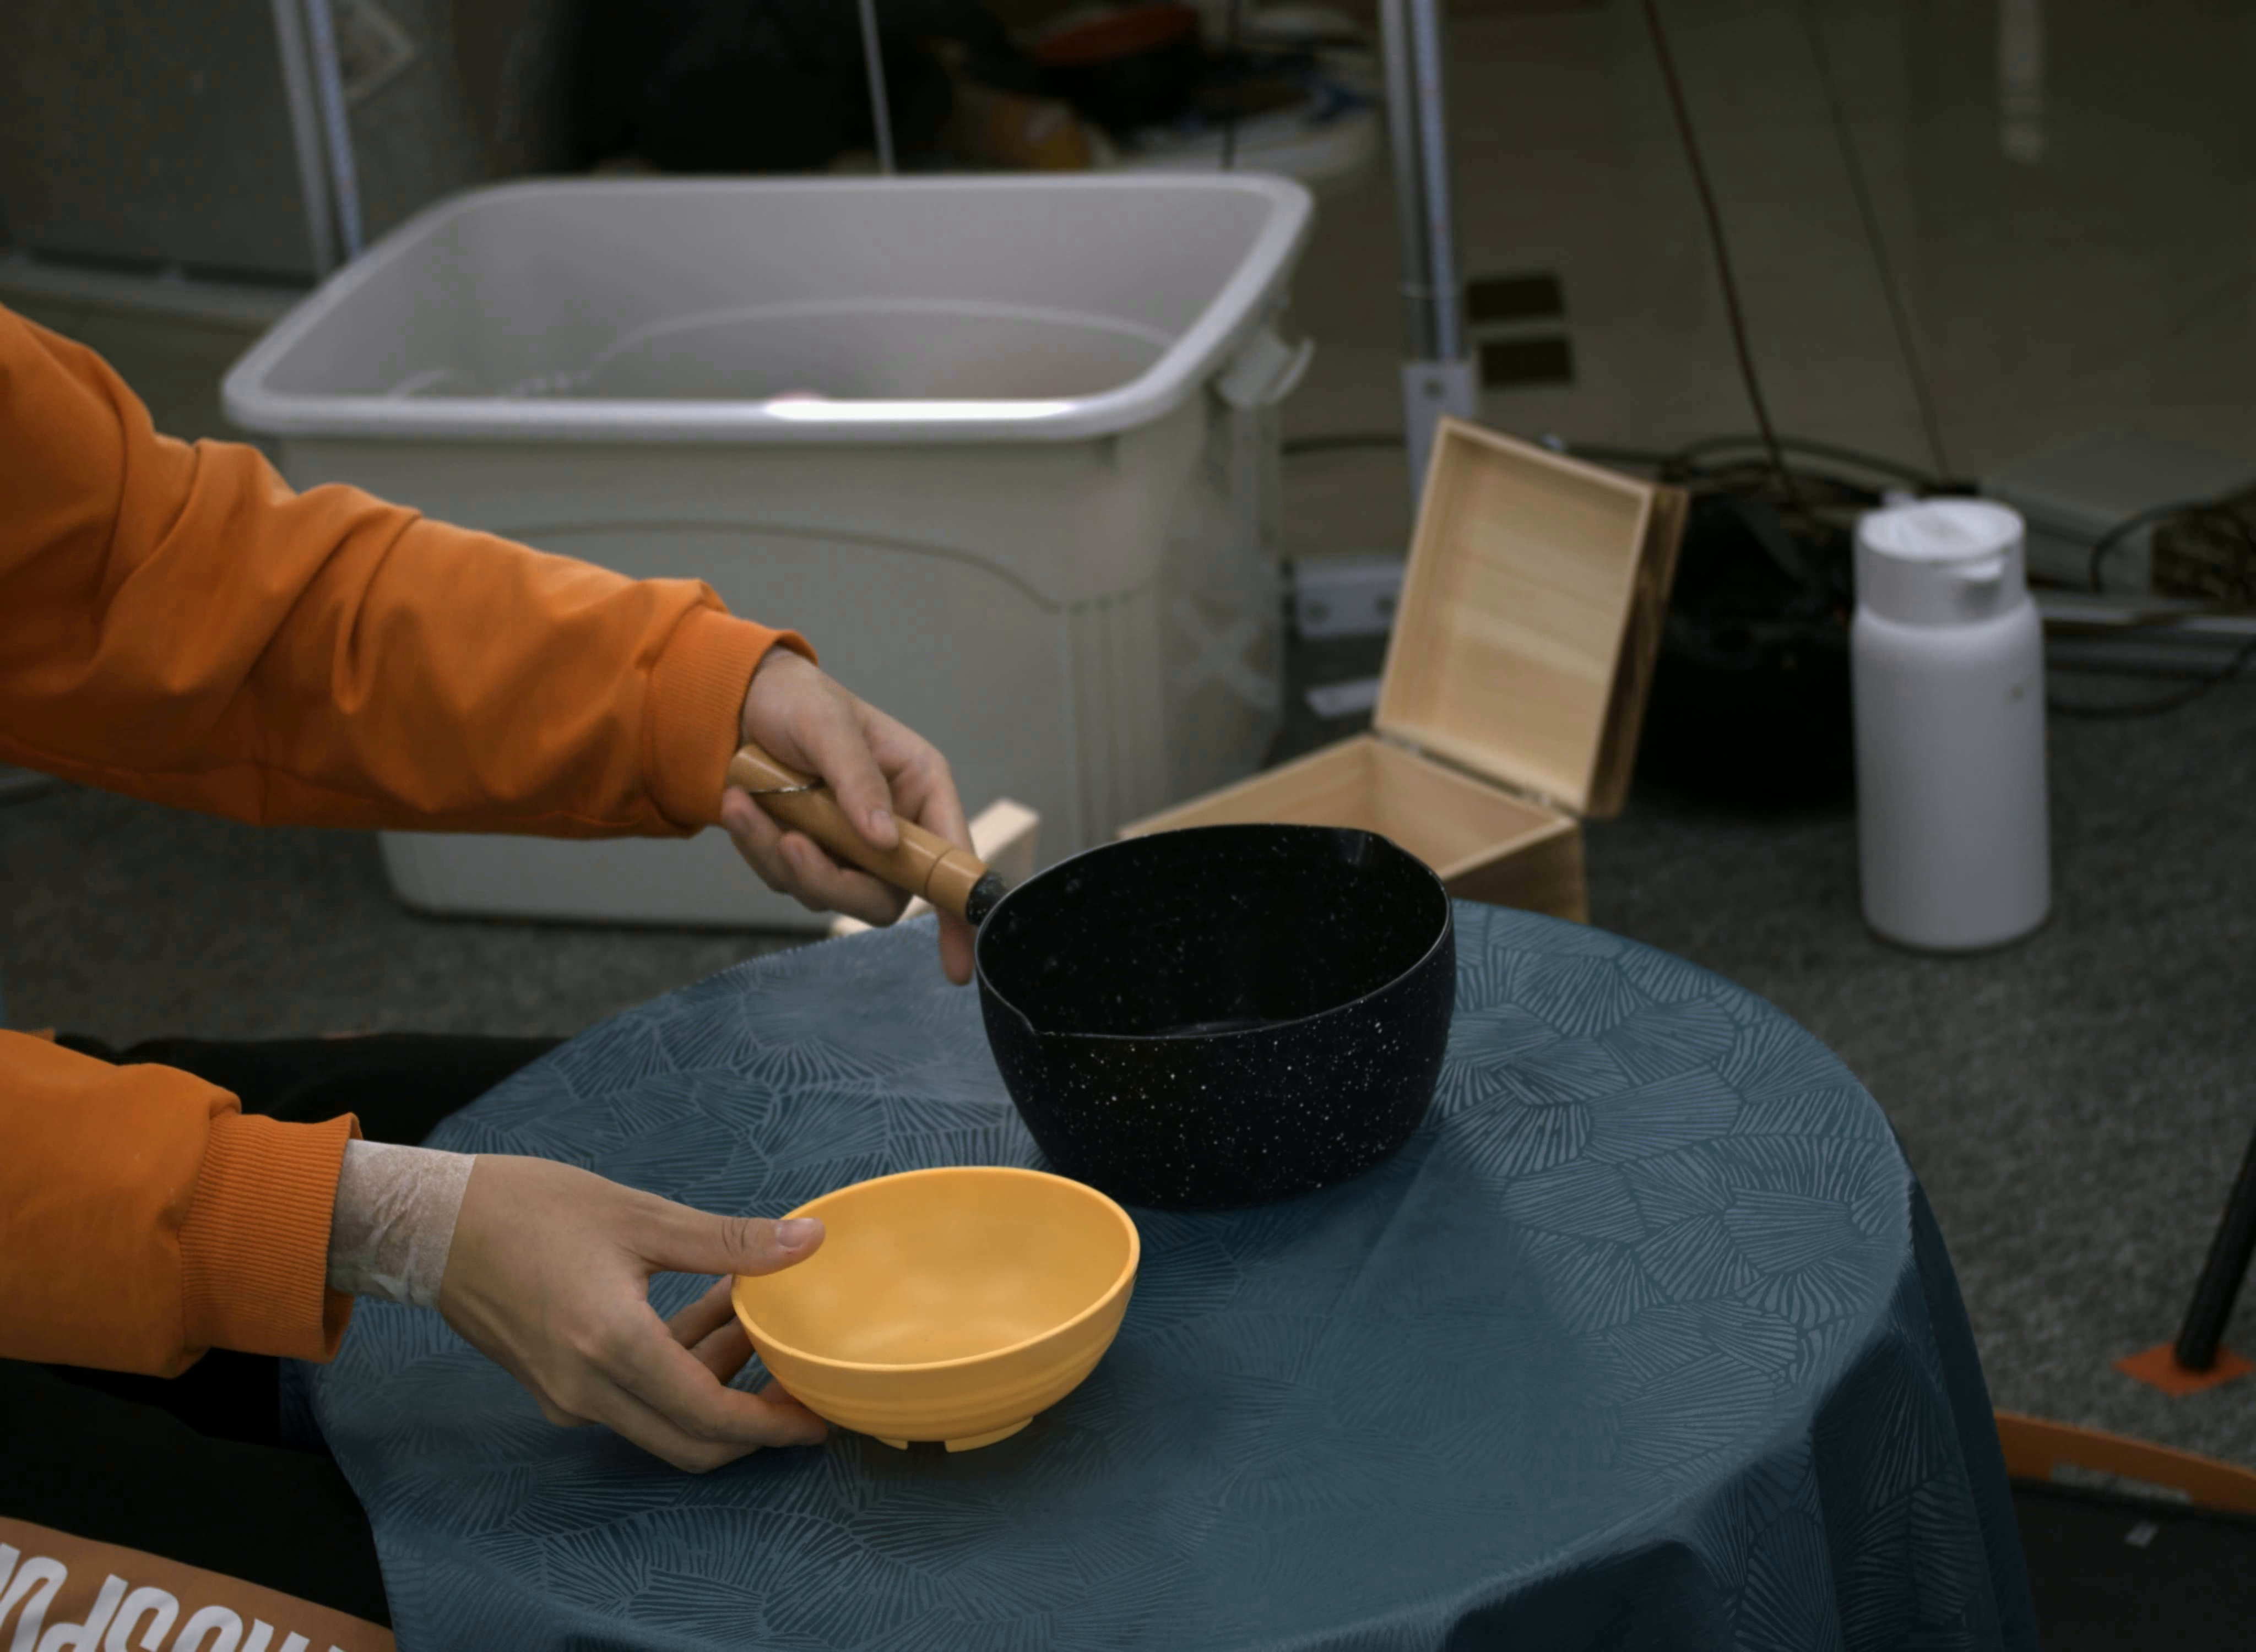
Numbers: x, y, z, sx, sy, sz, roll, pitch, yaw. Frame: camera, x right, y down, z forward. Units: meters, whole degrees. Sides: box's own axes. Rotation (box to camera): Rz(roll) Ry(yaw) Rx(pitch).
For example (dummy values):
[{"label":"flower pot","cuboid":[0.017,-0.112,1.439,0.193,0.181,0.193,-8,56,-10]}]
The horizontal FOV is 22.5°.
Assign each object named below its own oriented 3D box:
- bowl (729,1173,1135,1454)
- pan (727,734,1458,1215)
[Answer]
[{"label":"bowl","cuboid":[-0.066,0.180,2.005,0.145,0.061,0.143,-5,24,3]},{"label":"pan","cuboid":[-0.026,0.049,2.215,0.340,0.110,0.205,16,35,36]}]
